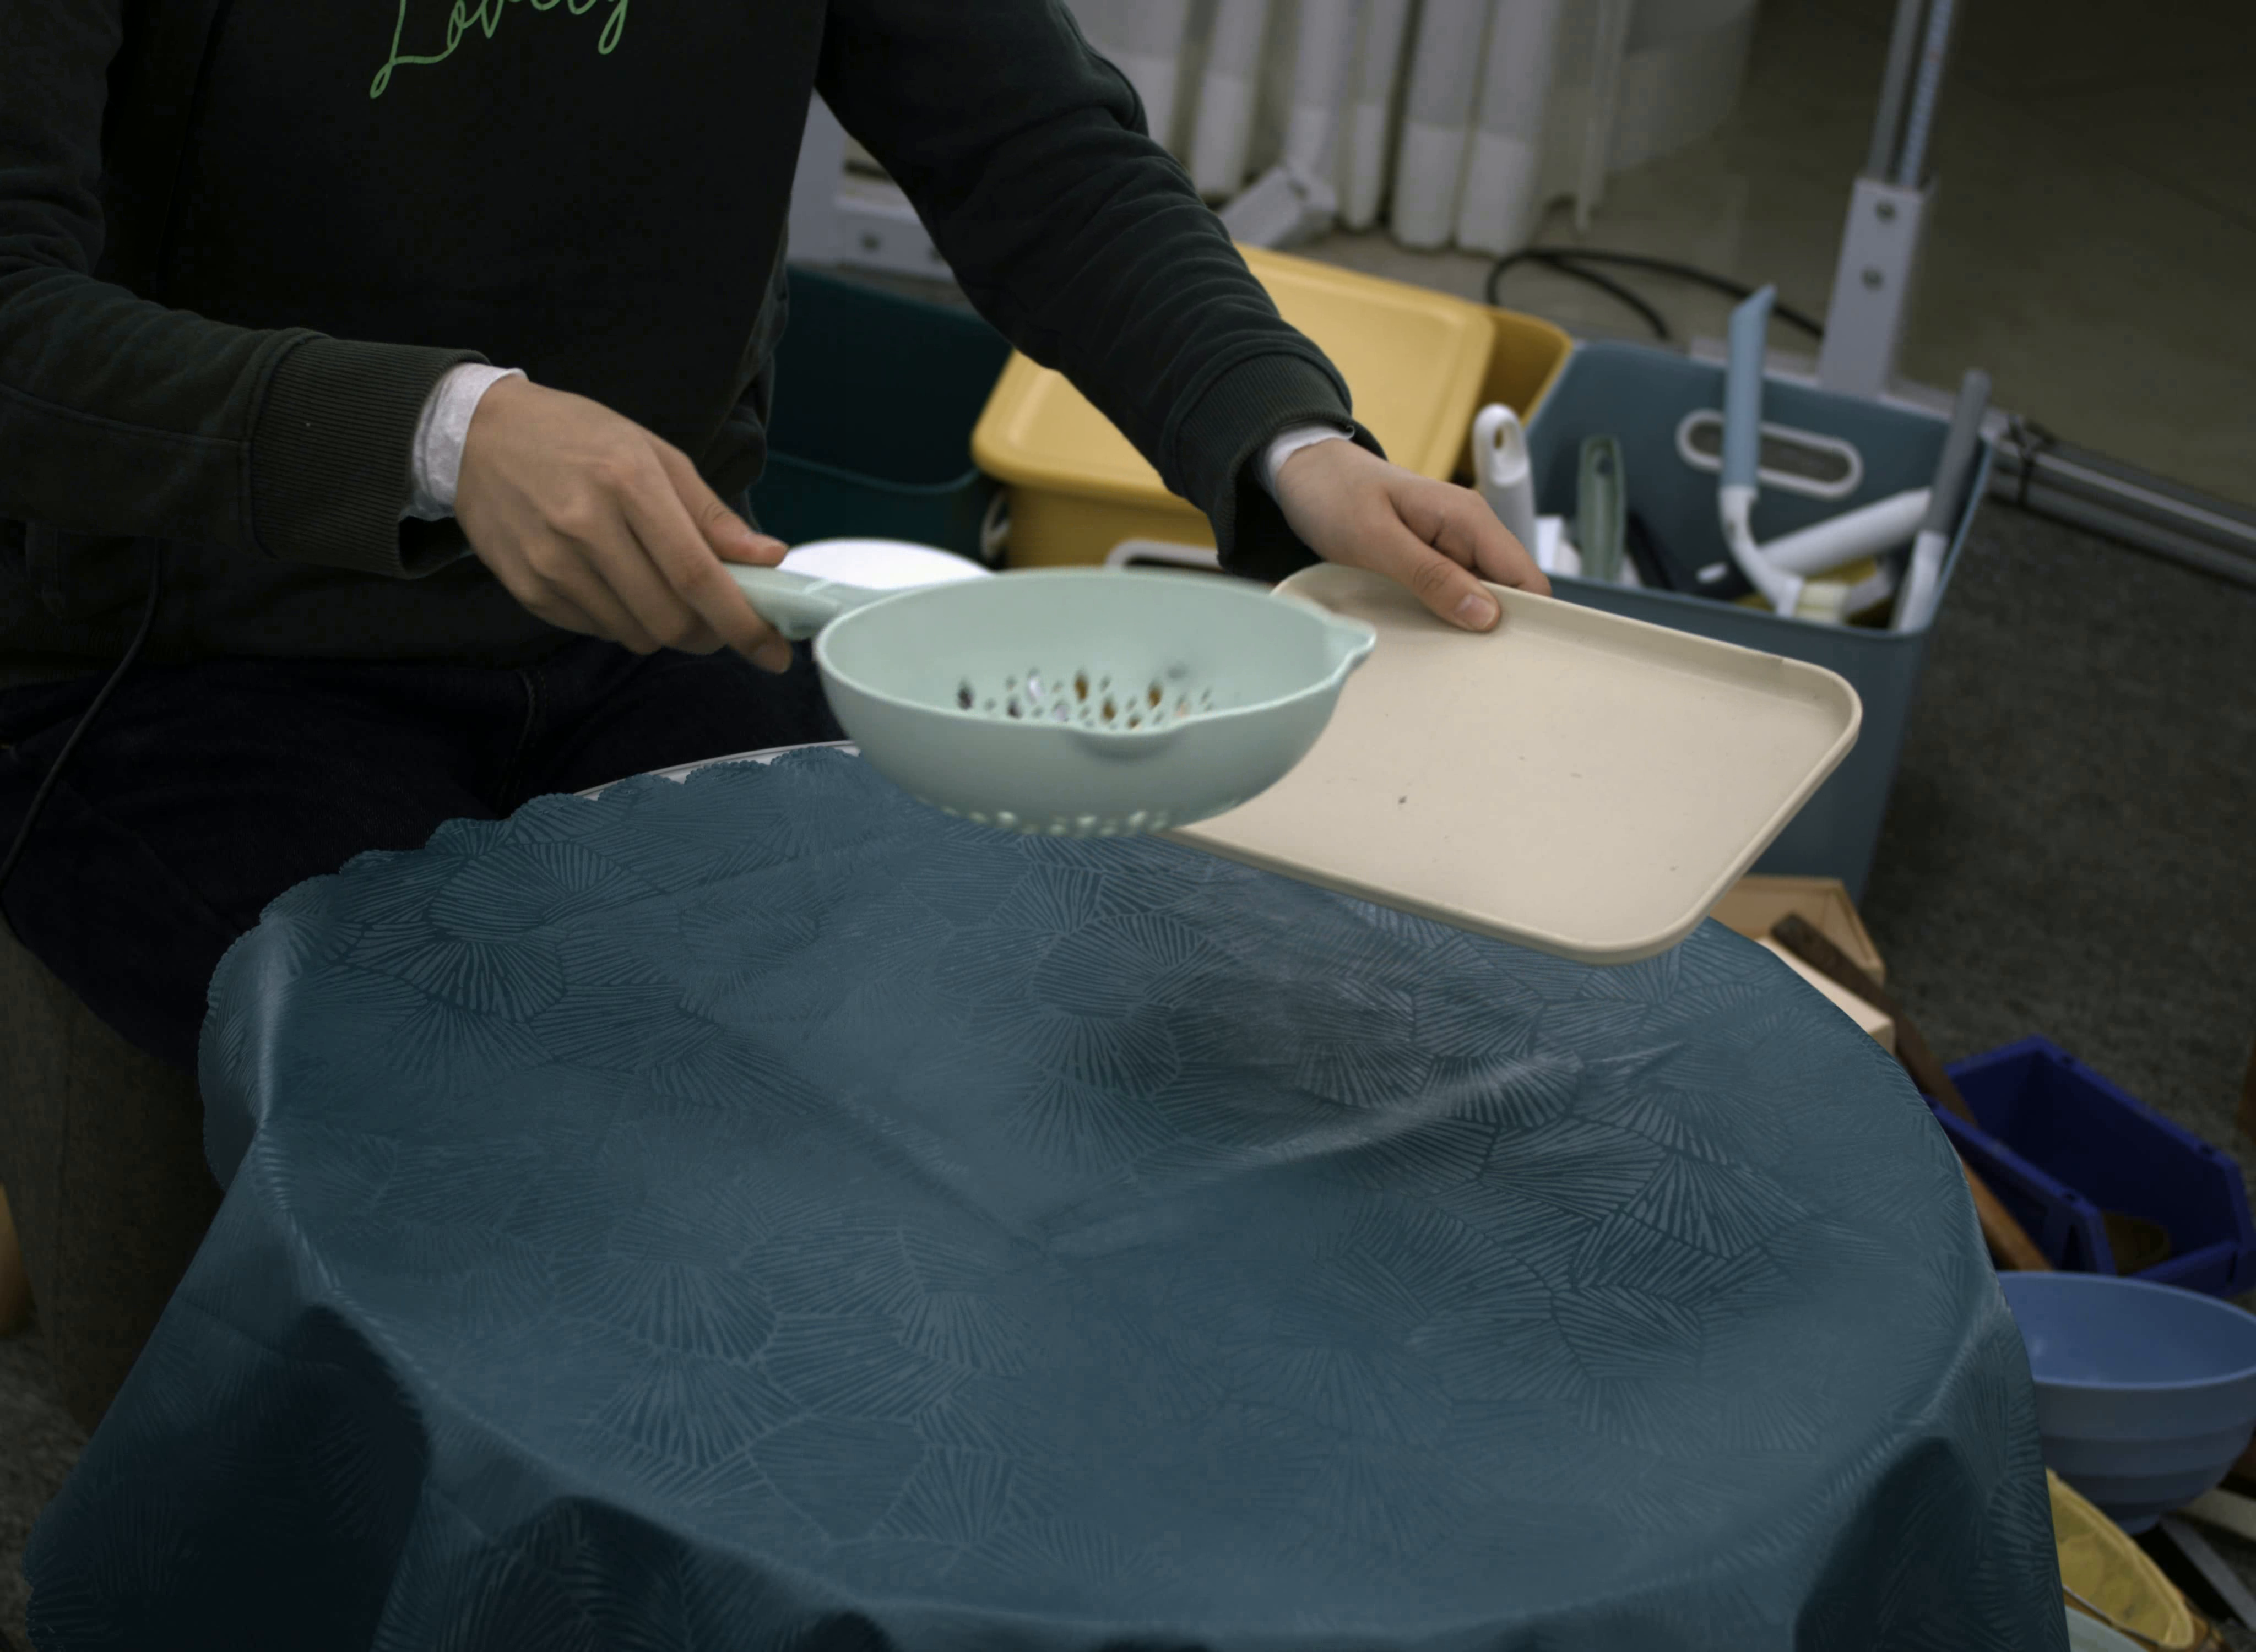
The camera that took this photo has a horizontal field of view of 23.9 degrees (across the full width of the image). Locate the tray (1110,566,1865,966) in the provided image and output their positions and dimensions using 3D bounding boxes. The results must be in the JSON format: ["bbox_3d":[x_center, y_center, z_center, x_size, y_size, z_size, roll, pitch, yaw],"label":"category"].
[{"bbox_3d":[0.123,-0.022,1.857,0.241,0.017,0.171,15,44,33],"label":"tray"}]

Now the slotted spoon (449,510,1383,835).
[{"bbox_3d":[-0.089,-0.067,1.739,0.361,0.075,0.168,22,28,32],"label":"slotted spoon"}]
